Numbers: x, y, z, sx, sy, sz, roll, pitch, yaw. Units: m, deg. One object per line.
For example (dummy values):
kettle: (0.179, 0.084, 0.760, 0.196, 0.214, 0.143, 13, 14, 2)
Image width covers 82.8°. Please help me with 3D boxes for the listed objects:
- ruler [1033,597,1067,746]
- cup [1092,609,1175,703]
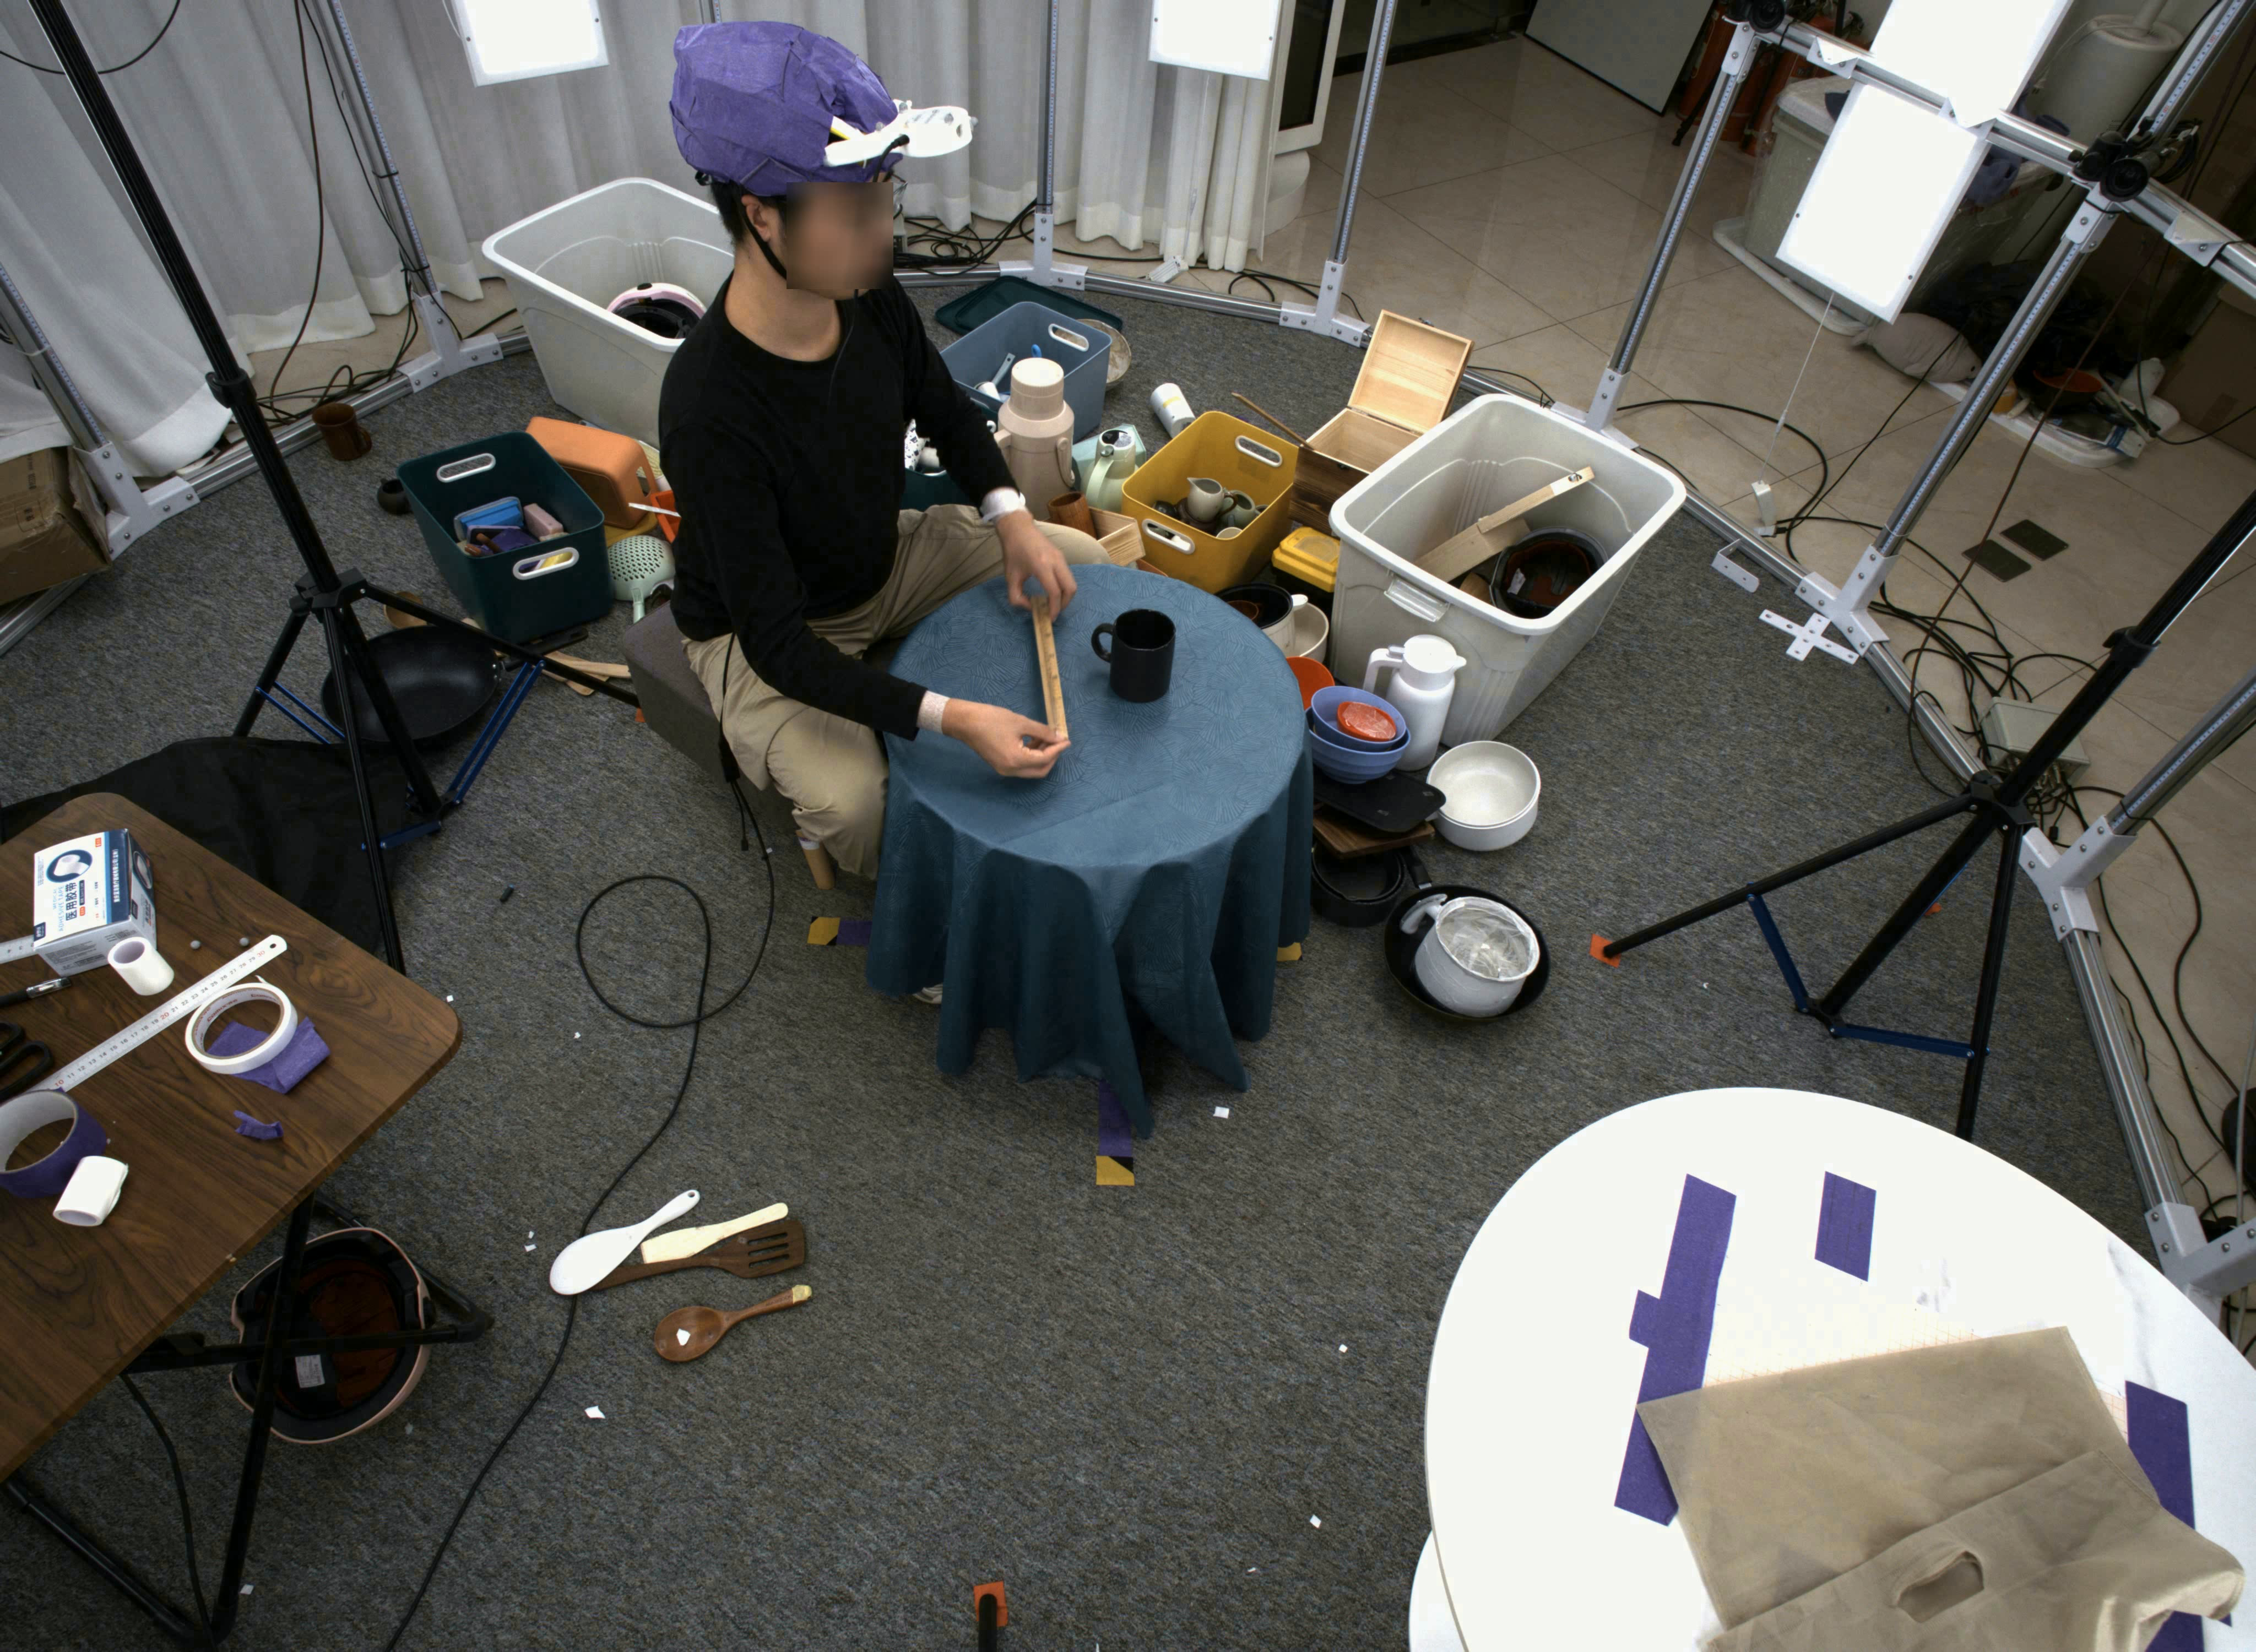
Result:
ruler: (-0.112, -0.228, 1.816, 0.027, 0.021, 0.340, -2, 44, -7)
cup: (0.004, -0.247, 1.819, 0.124, 0.103, 0.090, 24, 54, 17)
